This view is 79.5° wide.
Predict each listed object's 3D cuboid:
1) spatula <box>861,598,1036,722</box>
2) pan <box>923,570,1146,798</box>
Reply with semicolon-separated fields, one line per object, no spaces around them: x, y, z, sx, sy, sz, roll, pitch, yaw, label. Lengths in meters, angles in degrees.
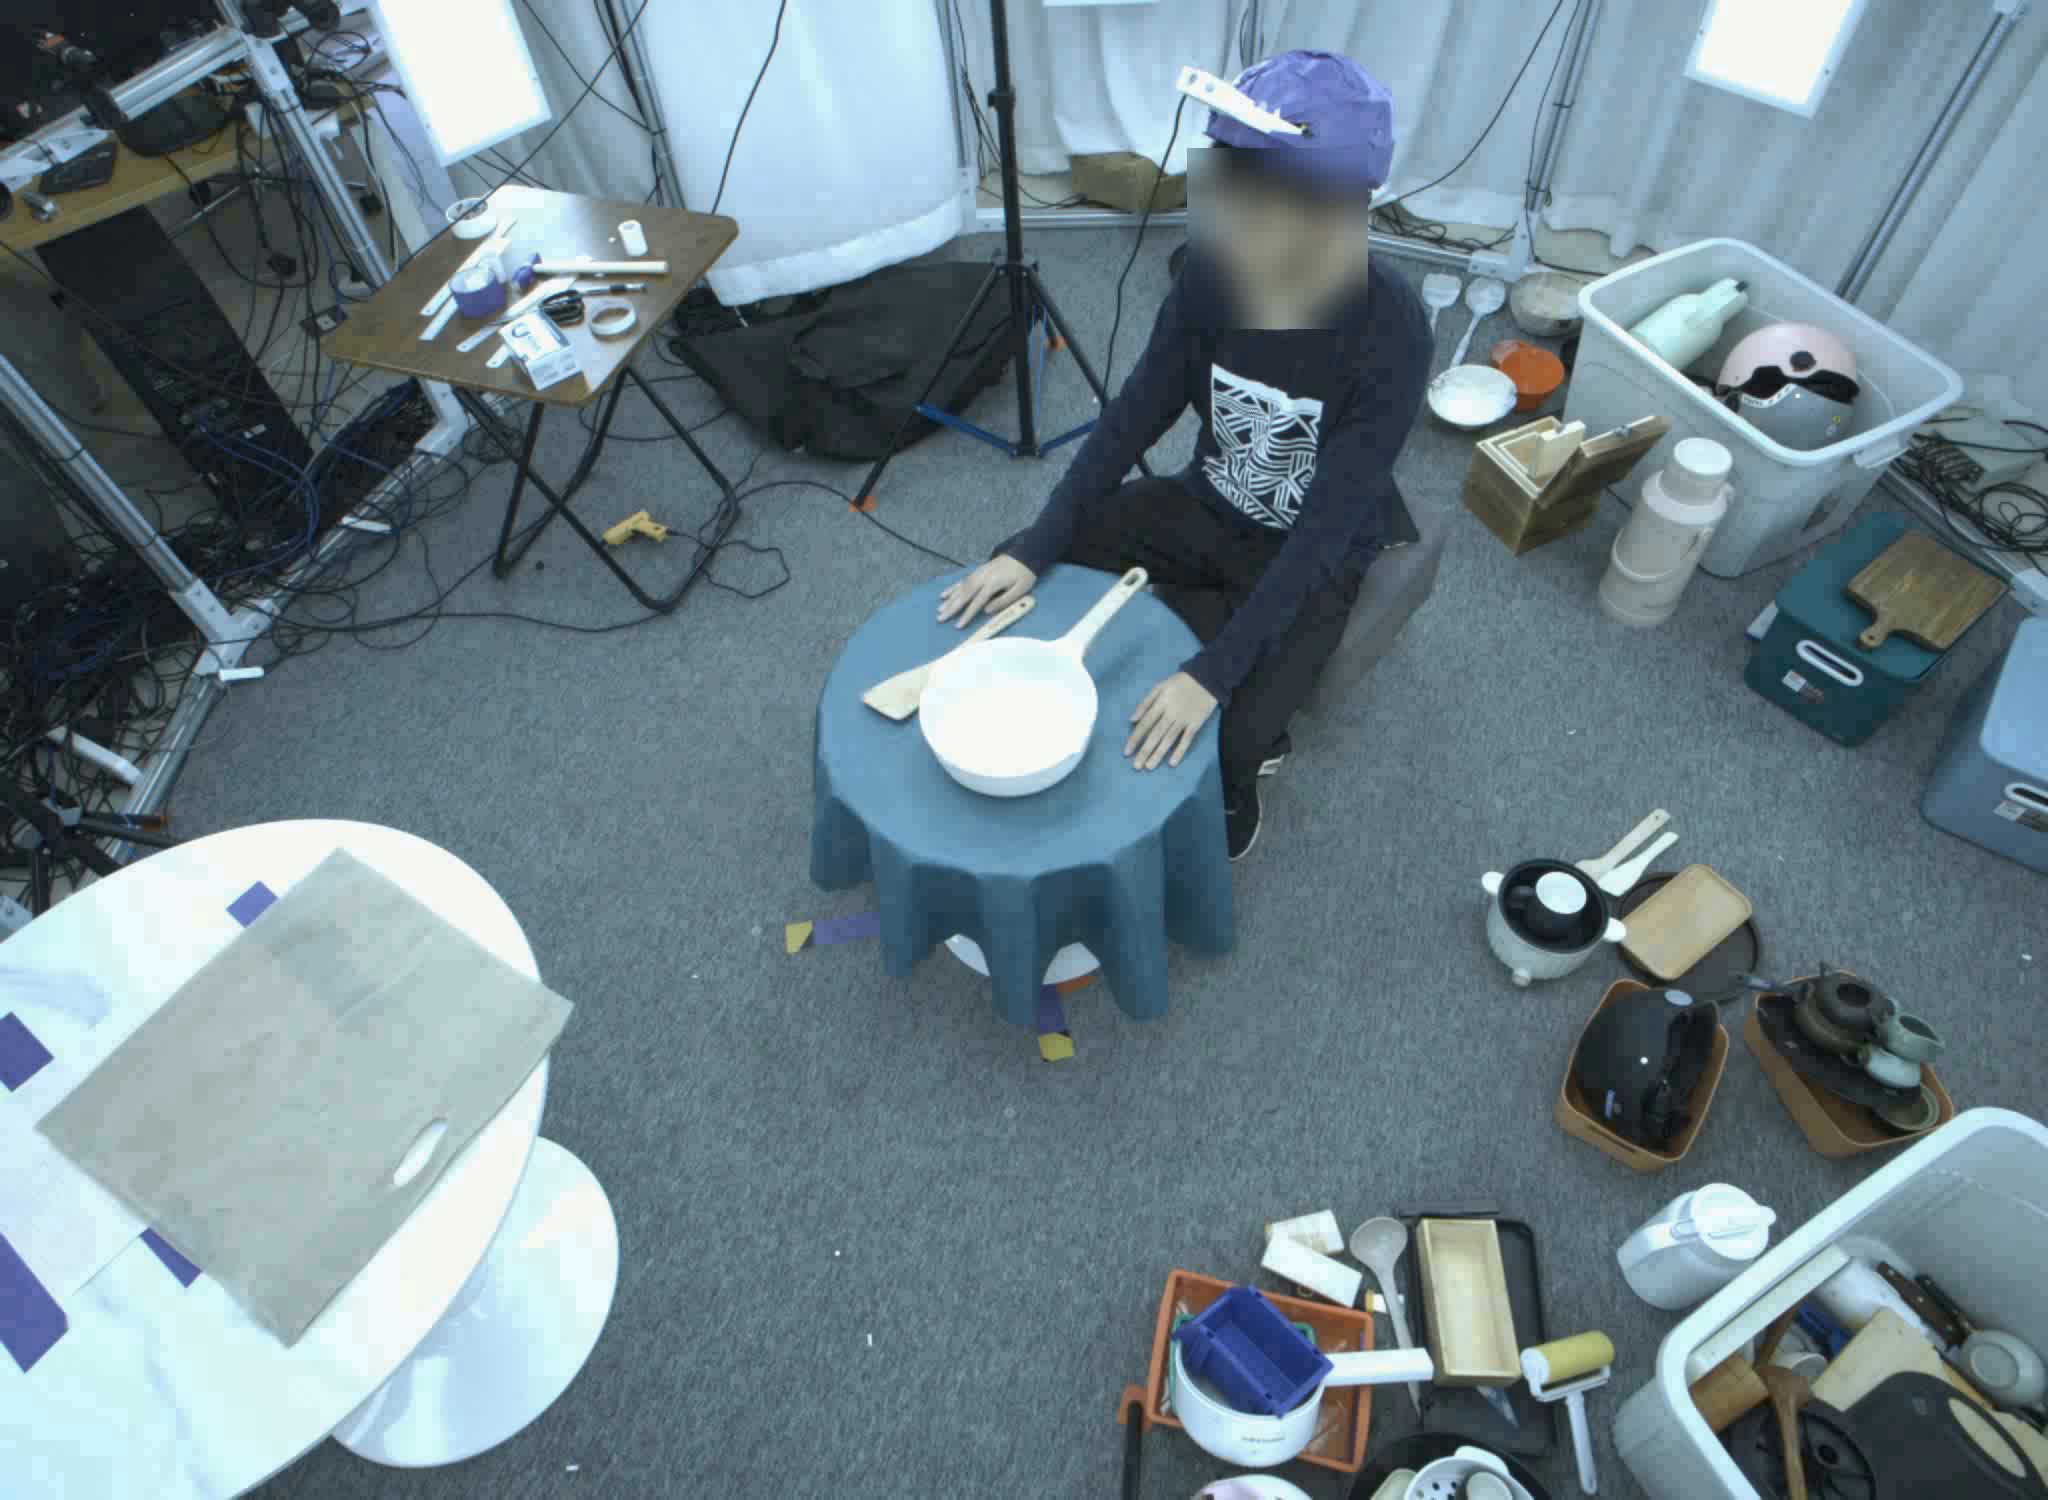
-0.103;-0.146;1.888;0.330;0.017;0.078;-39;61;-23;spatula
0.044;-0.101;1.798;0.259;0.103;0.437;33;61;24;pan
